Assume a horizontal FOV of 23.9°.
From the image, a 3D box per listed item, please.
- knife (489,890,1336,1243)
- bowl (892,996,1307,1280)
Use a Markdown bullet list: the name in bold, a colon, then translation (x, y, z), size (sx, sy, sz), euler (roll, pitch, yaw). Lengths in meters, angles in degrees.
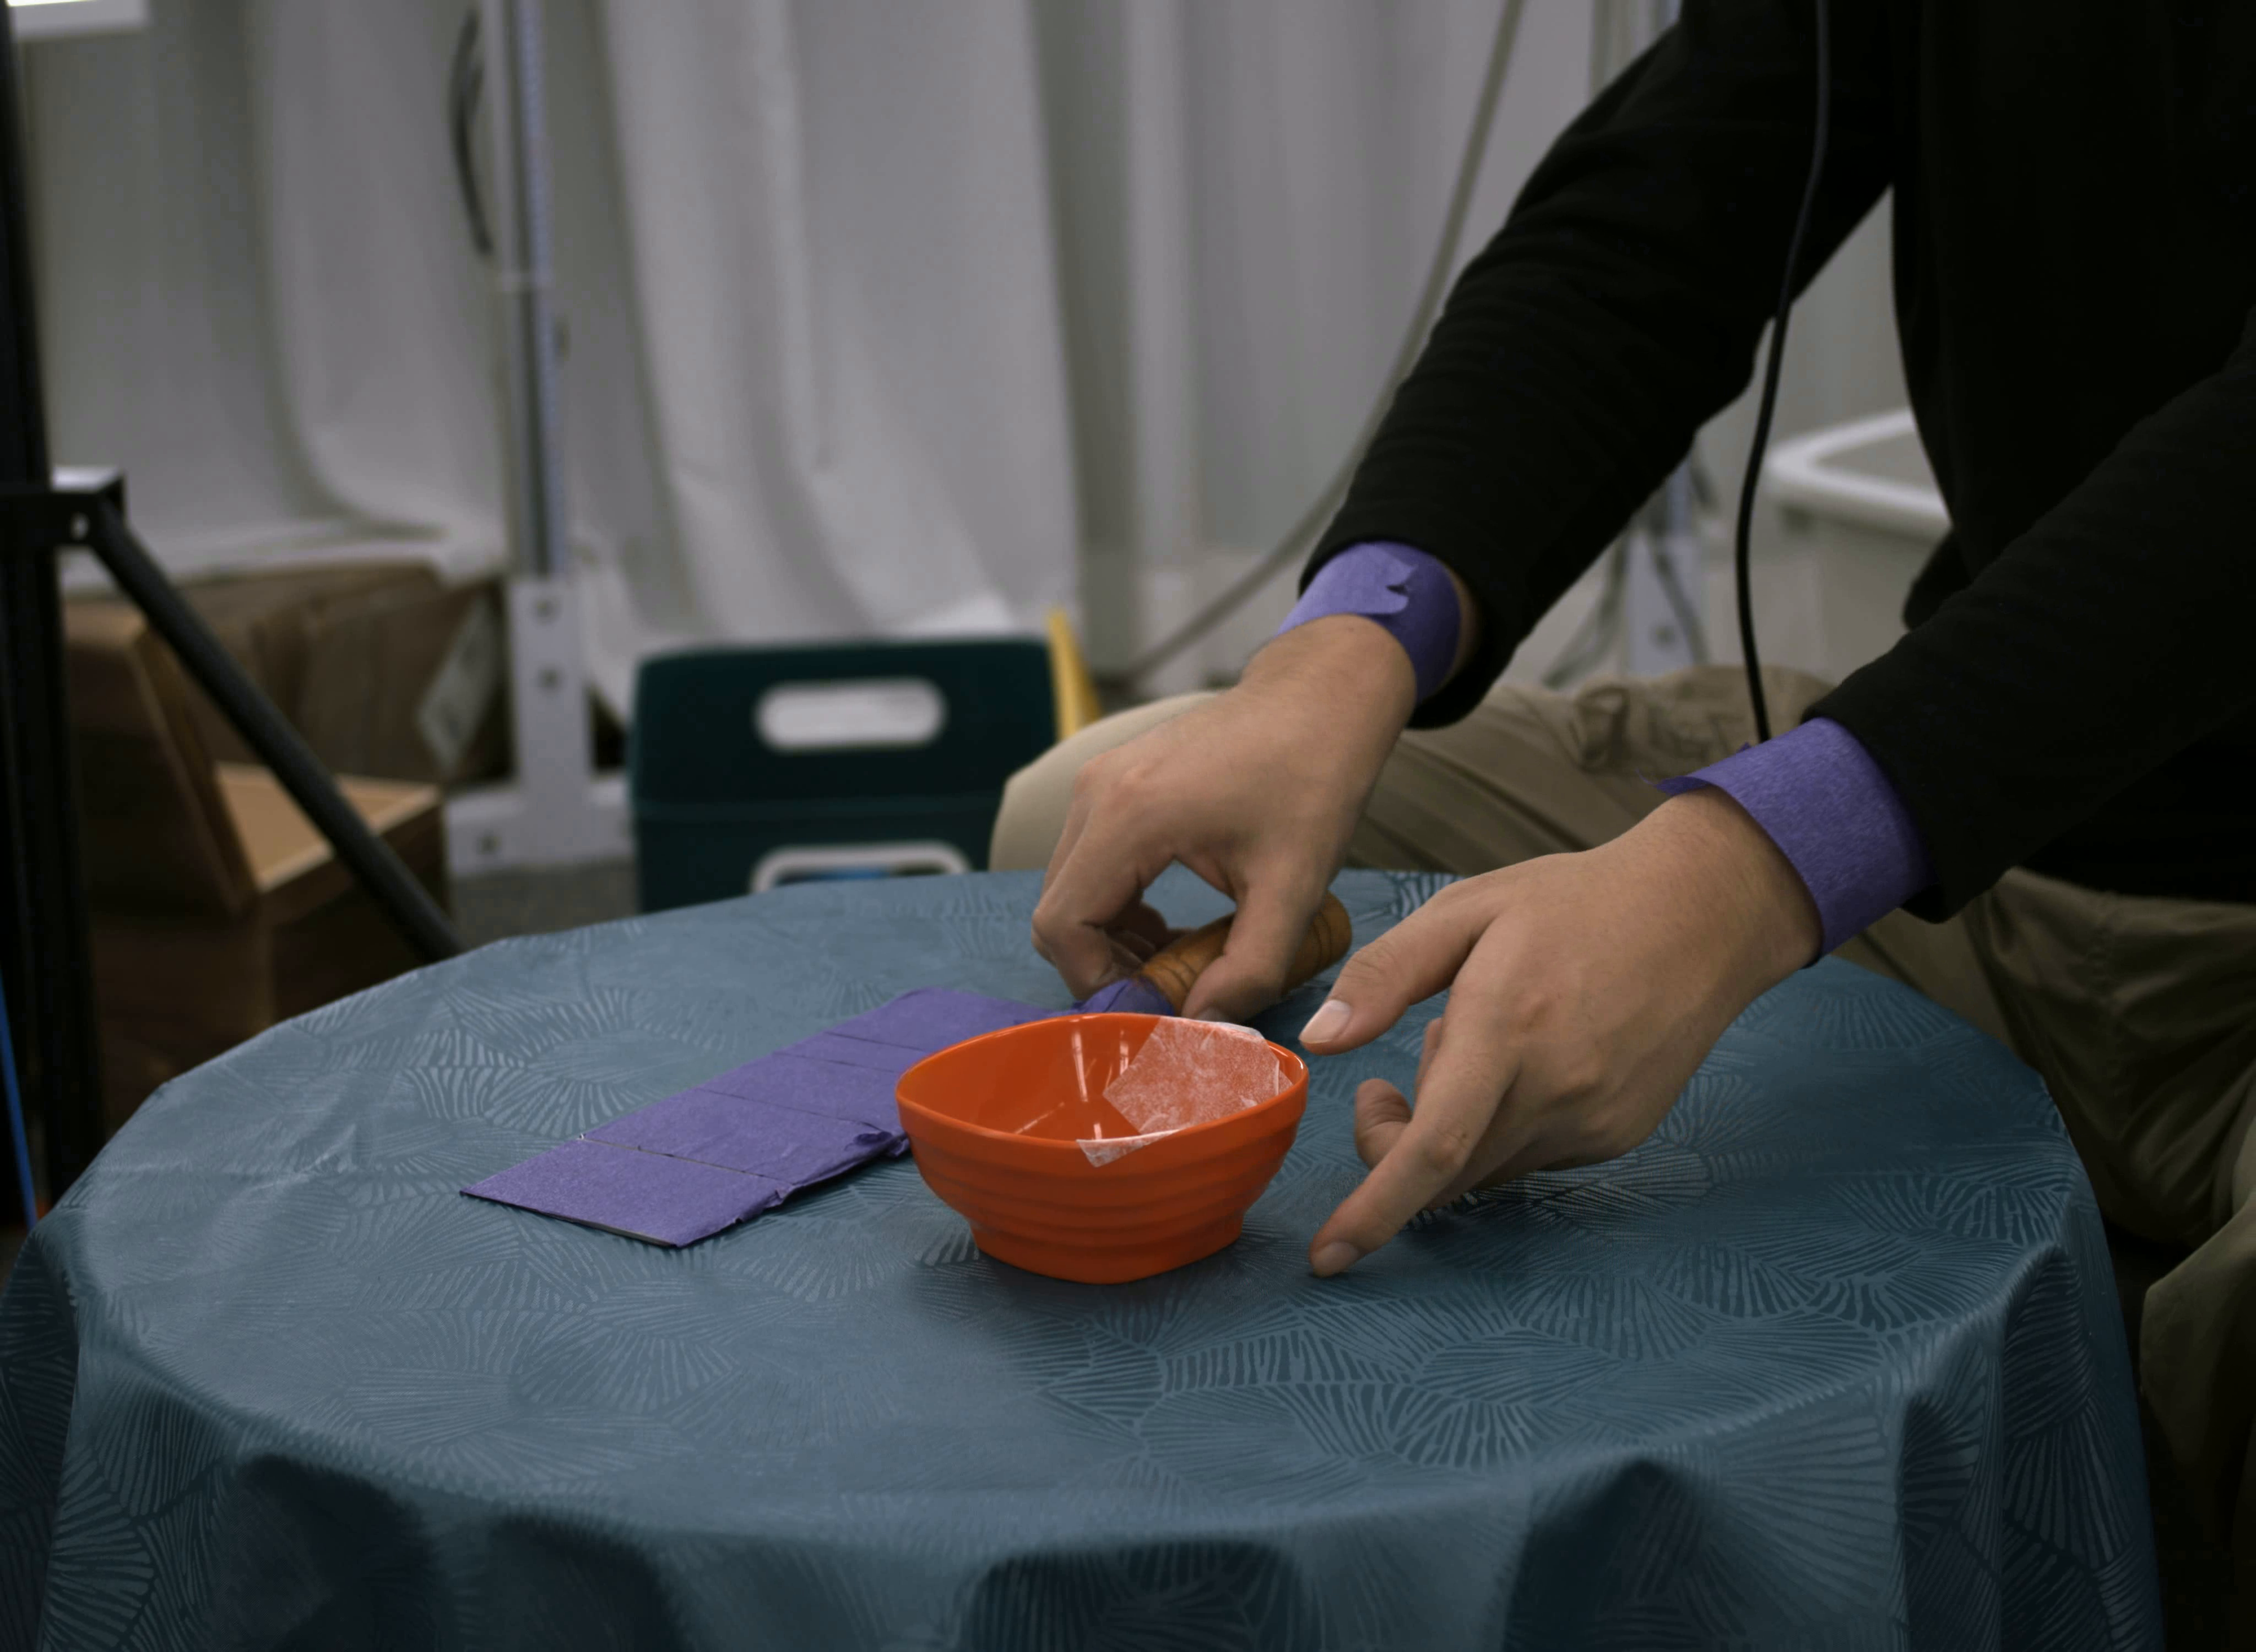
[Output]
- **knife**: translation (-0.064, 0.069, 1.656), size (0.106, 0.032, 0.308), euler (11, 22, 40)
- **bowl**: translation (-0.006, 0.091, 1.510), size (0.118, 0.051, 0.119), euler (-6, 17, 0)
